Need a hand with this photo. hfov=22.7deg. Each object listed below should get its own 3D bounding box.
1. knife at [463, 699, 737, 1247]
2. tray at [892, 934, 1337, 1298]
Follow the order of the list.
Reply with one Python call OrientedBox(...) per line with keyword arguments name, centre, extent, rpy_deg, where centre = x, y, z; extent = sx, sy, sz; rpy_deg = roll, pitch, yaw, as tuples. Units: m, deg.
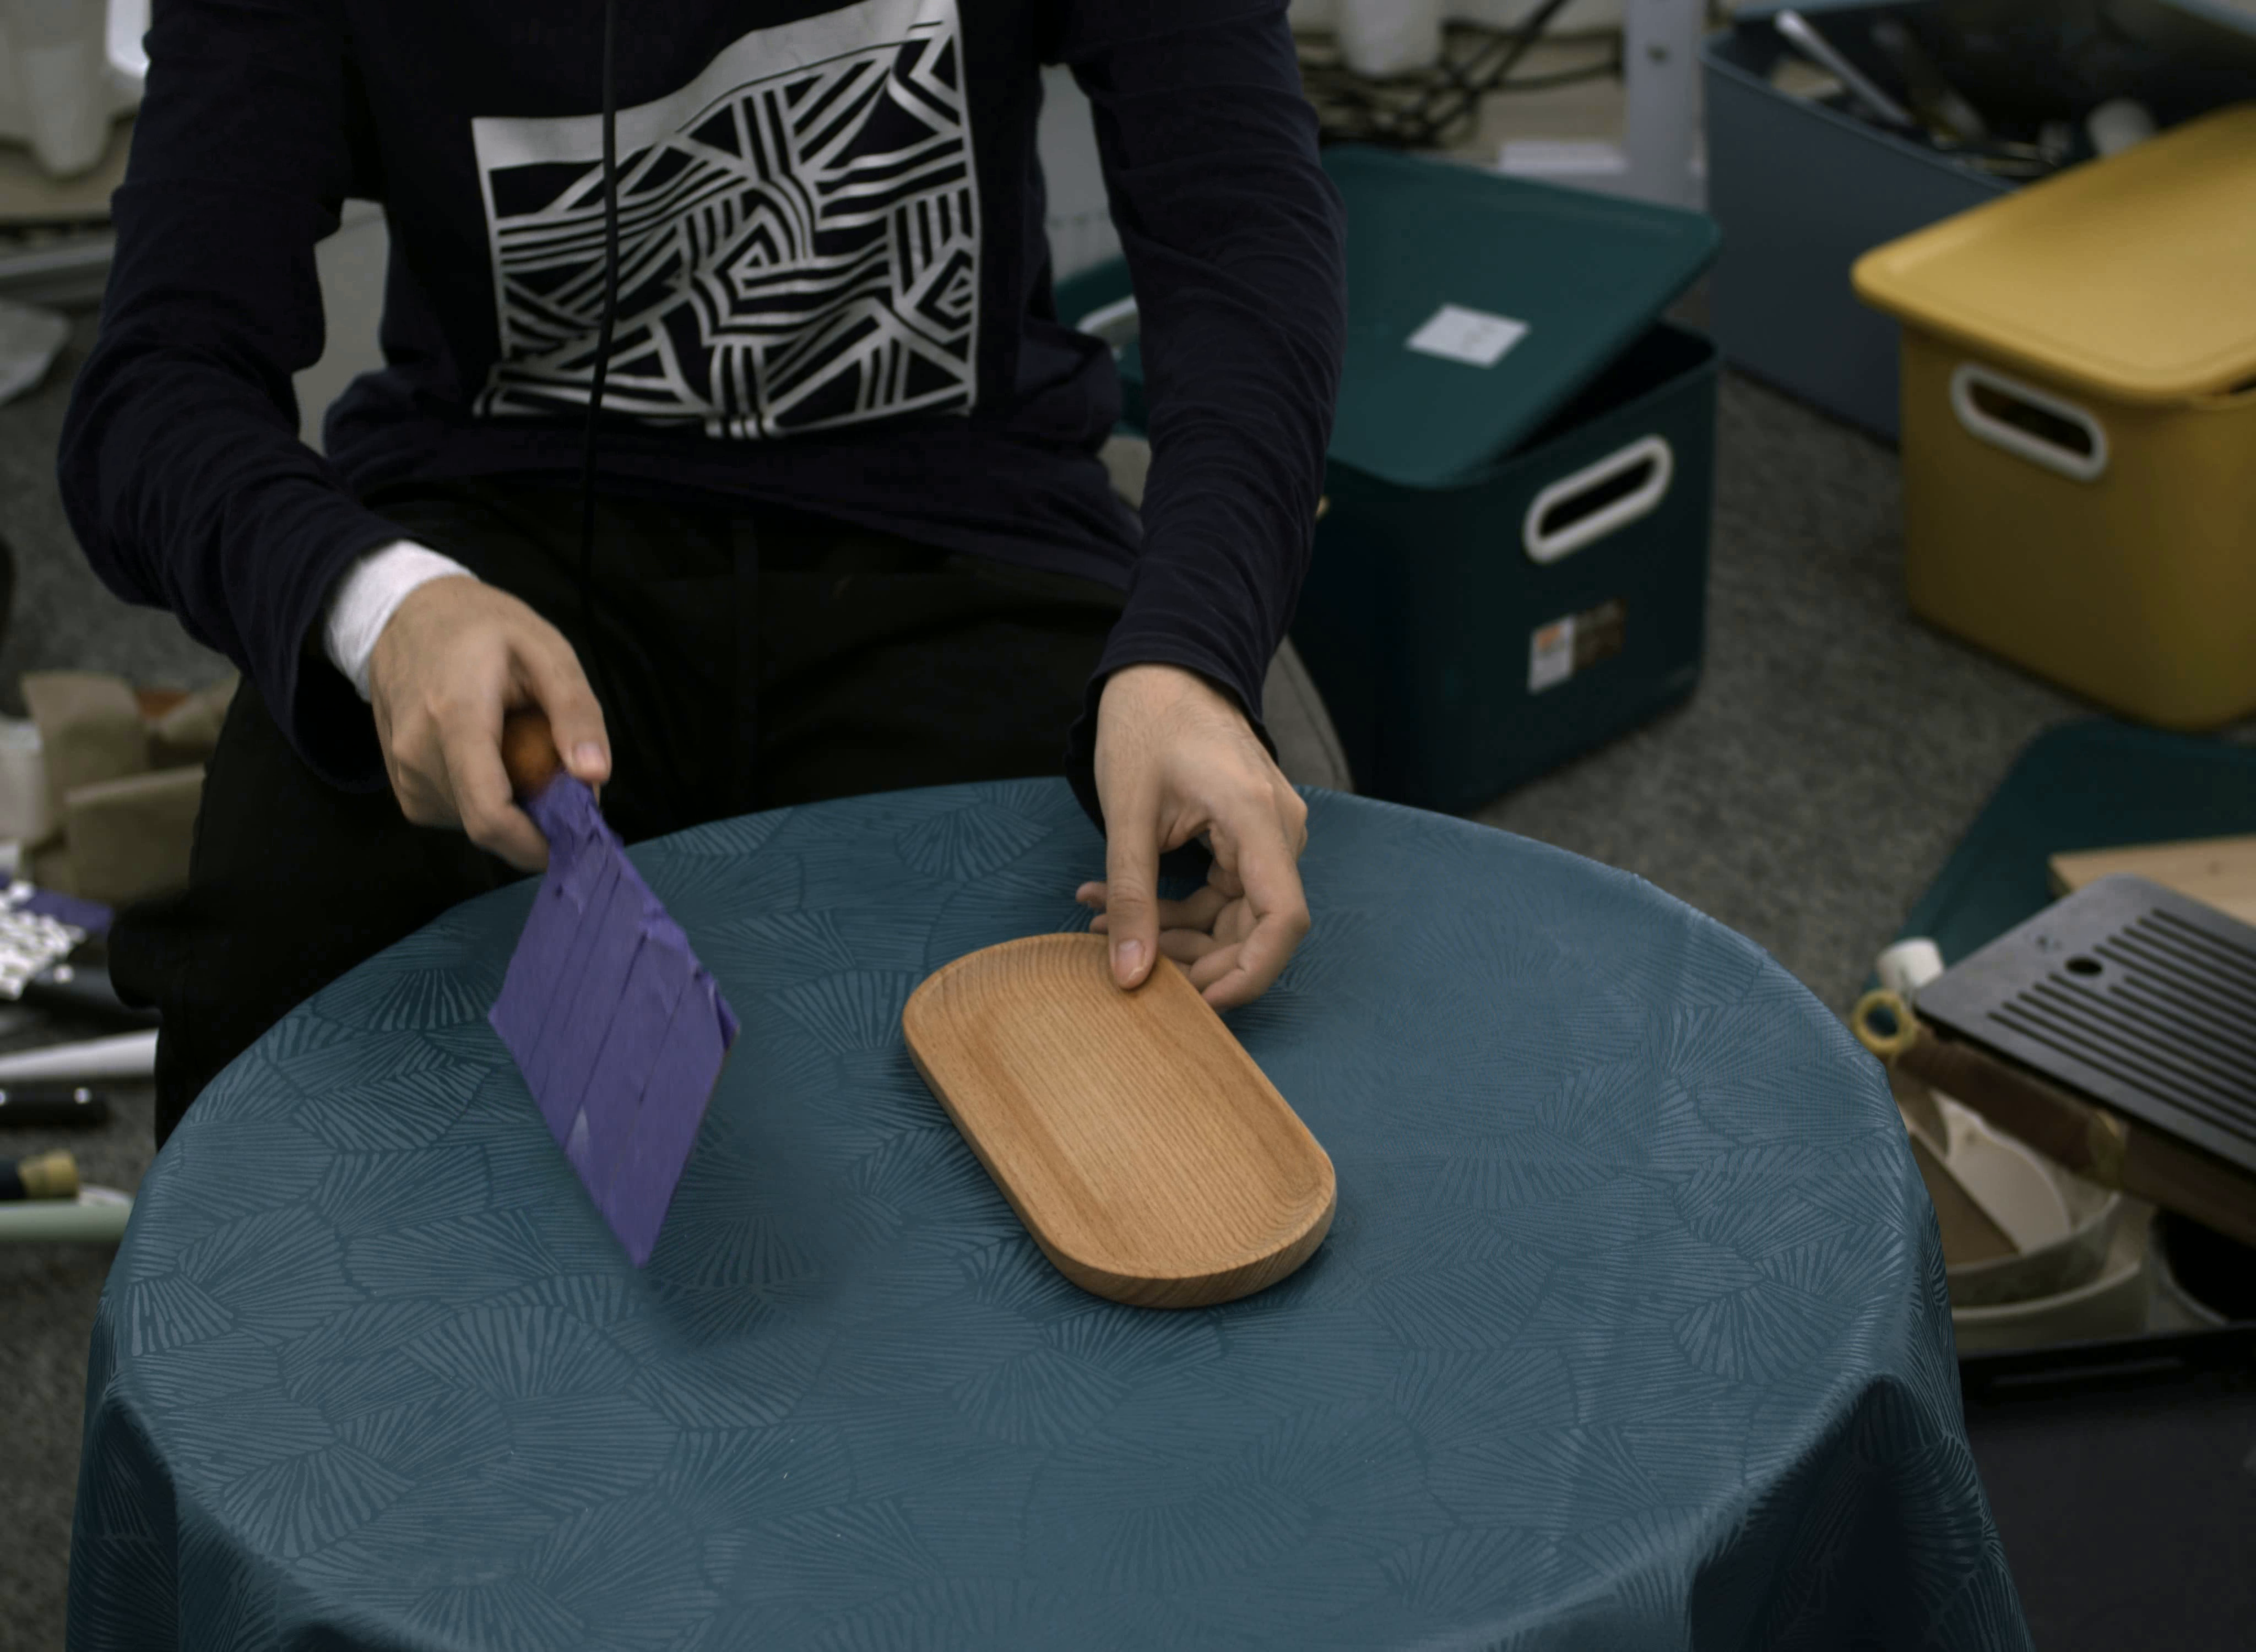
OrientedBox(name="knife", centre=(-0.190, 0.046, 1.890), extent=(0.032, 0.103, 0.317), rpy_deg=(18, 13, -23))
OrientedBox(name="tray", centre=(-0.006, 0.096, 1.890), extent=(0.102, 0.020, 0.233), rpy_deg=(-15, 28, -17))
